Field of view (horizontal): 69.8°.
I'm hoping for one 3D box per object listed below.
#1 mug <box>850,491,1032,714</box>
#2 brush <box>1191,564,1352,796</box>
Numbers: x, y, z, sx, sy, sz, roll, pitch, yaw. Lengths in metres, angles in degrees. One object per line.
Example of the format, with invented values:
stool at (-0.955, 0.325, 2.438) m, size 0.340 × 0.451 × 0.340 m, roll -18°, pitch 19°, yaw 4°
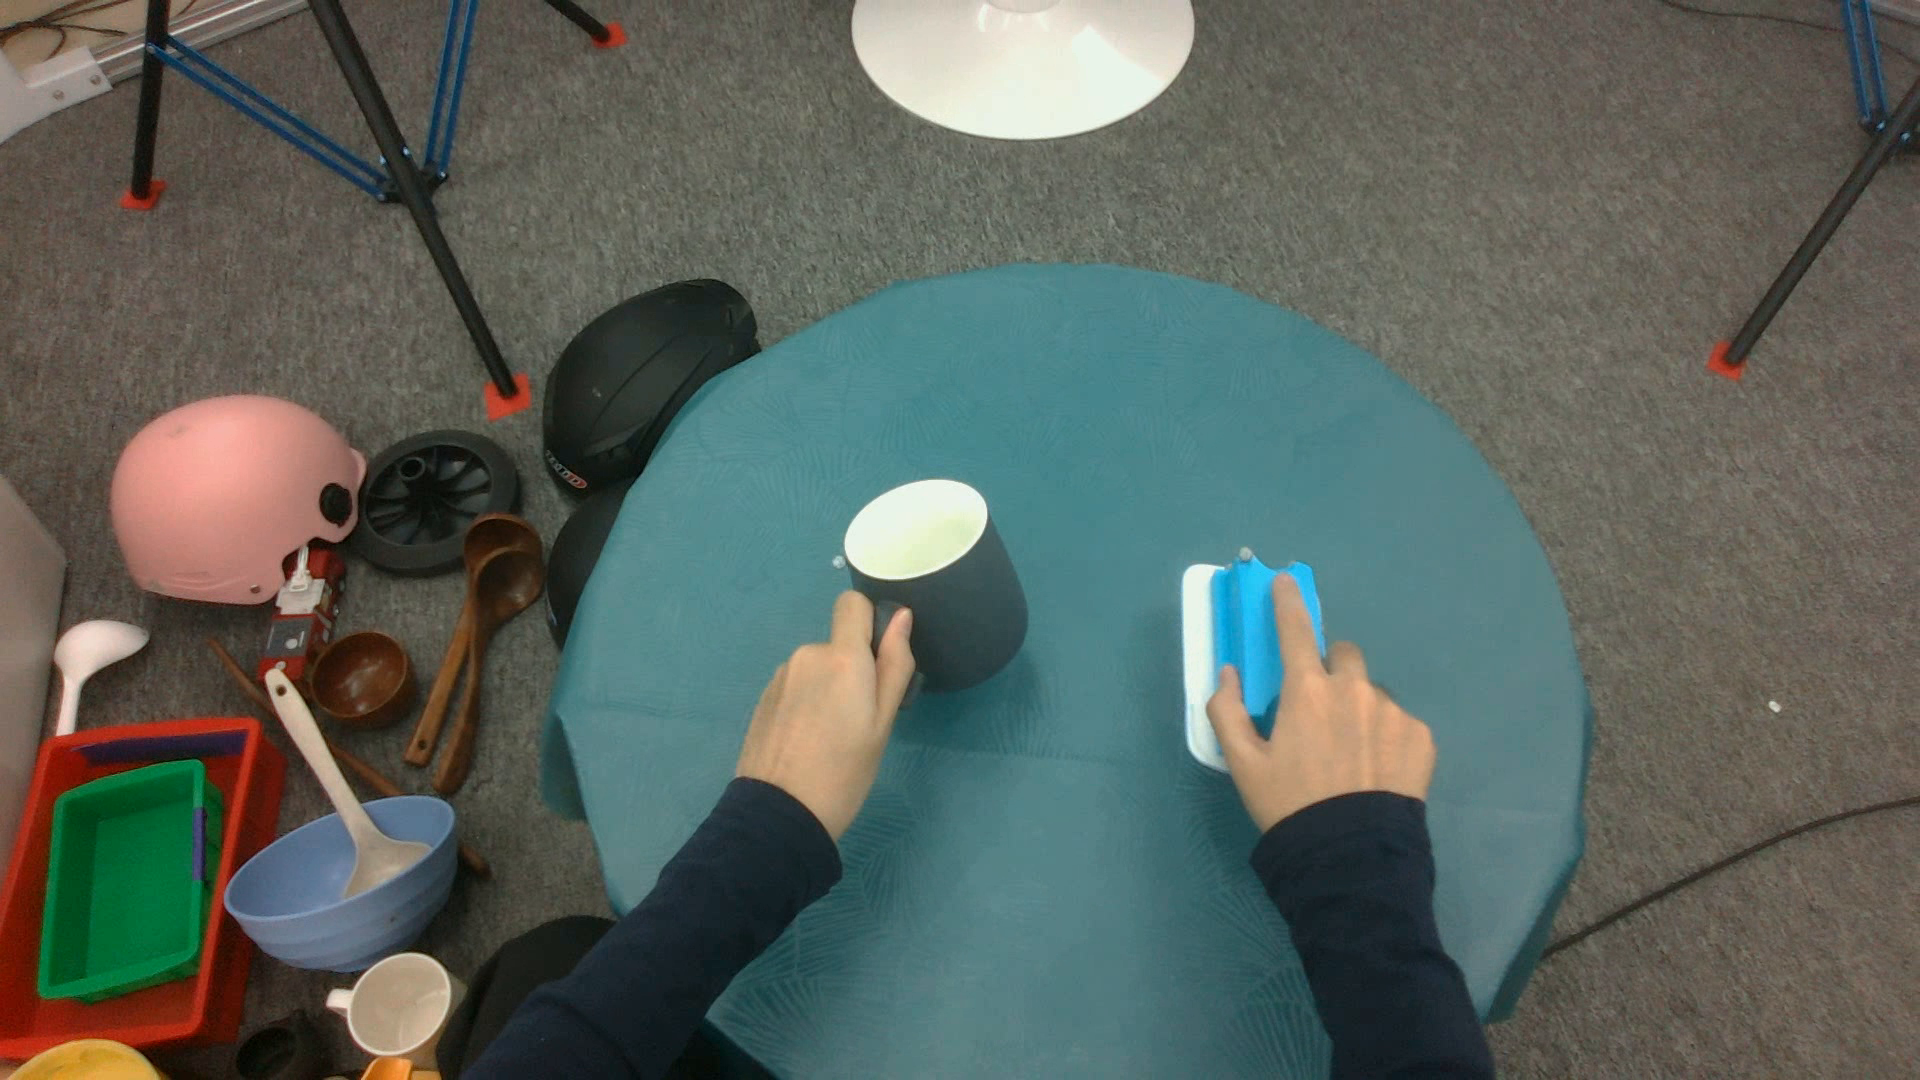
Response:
mug at (-0.017, 0.041, 0.760) m, size 0.093 × 0.089 × 0.124 m, roll 4°, pitch 41°, yaw 27°
brush at (0.171, 0.068, 0.745) m, size 0.084 × 0.055 × 0.144 m, roll 9°, pitch 45°, yaw 1°
